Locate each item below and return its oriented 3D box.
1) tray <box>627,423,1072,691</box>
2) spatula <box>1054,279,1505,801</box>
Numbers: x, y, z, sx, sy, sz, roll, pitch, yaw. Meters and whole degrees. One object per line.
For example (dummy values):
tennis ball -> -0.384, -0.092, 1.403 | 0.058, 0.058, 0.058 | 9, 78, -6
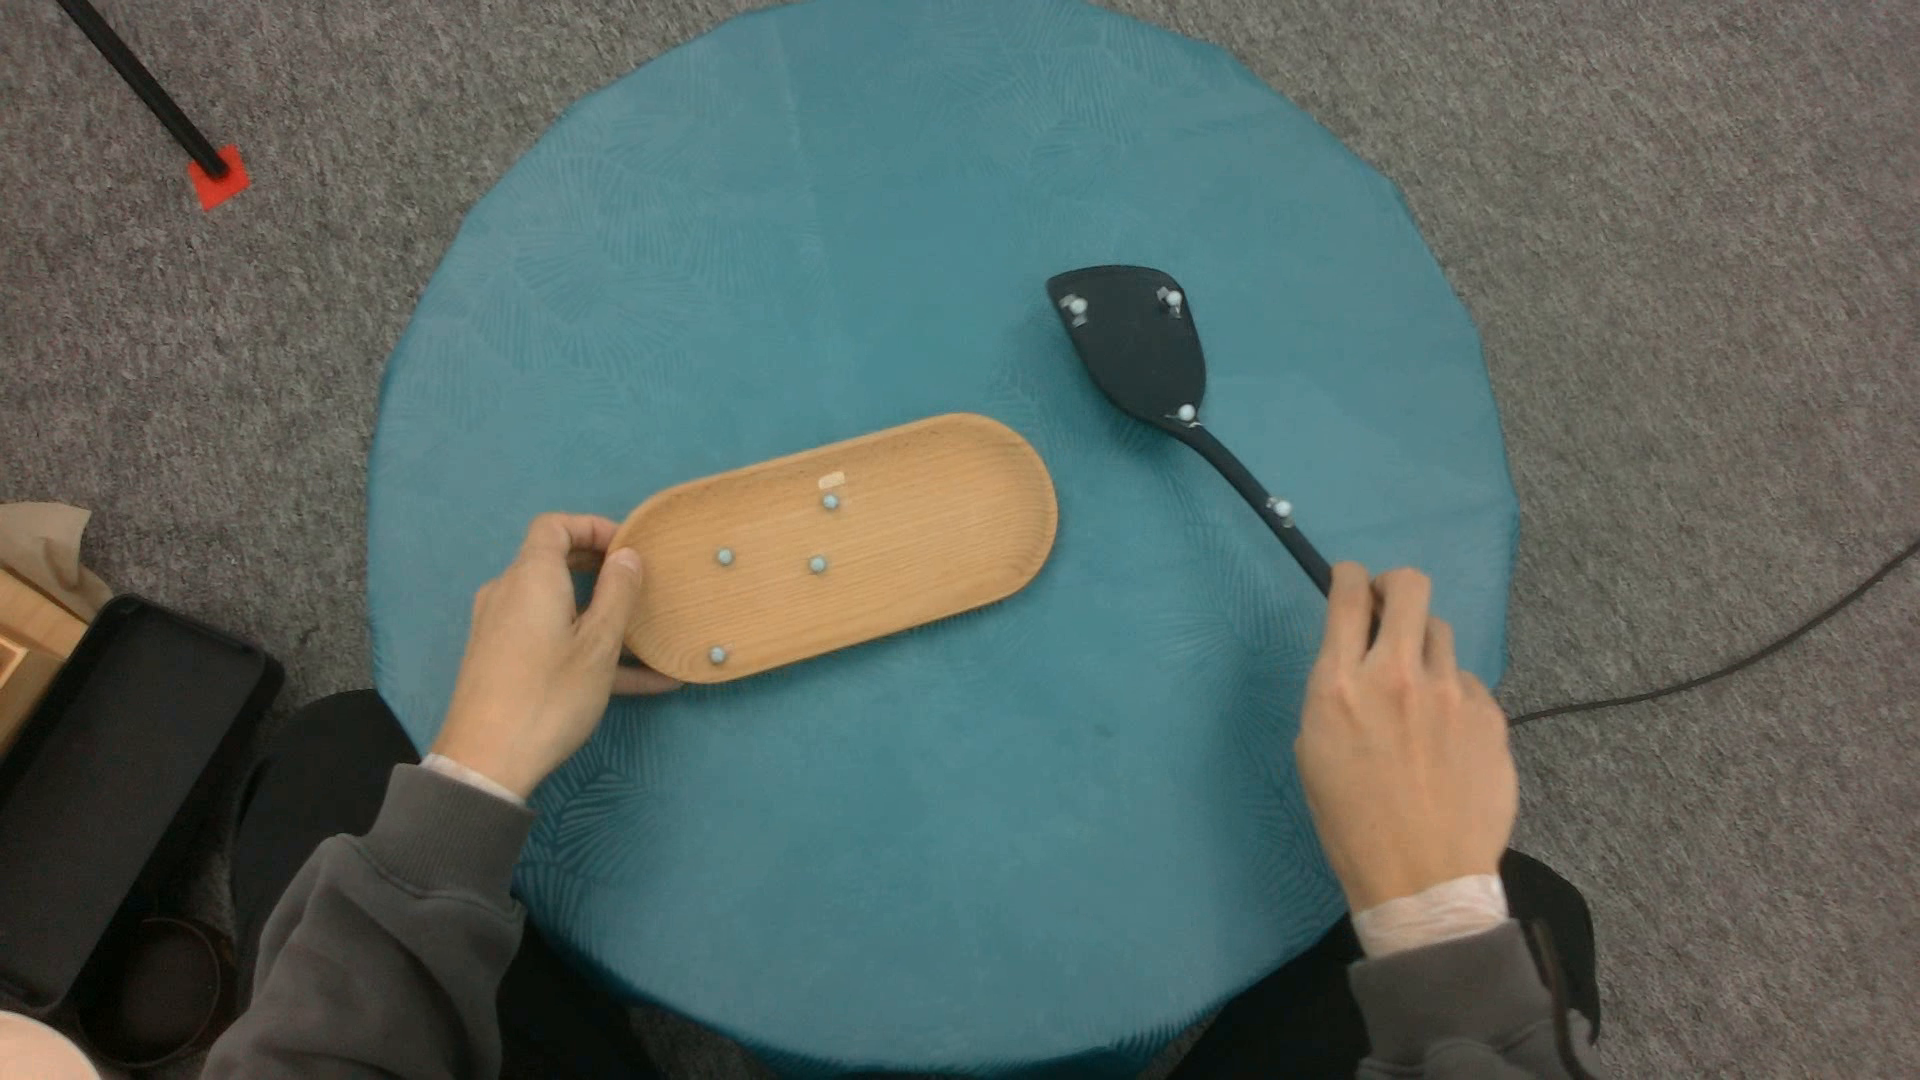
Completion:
tray -> -0.054, 0.007, 0.705 | 0.231, 0.020, 0.102 | -16, 82, -12
spatula -> 0.160, -0.011, 0.679 | 0.100, 0.040, 0.326 | -13, 55, -37
